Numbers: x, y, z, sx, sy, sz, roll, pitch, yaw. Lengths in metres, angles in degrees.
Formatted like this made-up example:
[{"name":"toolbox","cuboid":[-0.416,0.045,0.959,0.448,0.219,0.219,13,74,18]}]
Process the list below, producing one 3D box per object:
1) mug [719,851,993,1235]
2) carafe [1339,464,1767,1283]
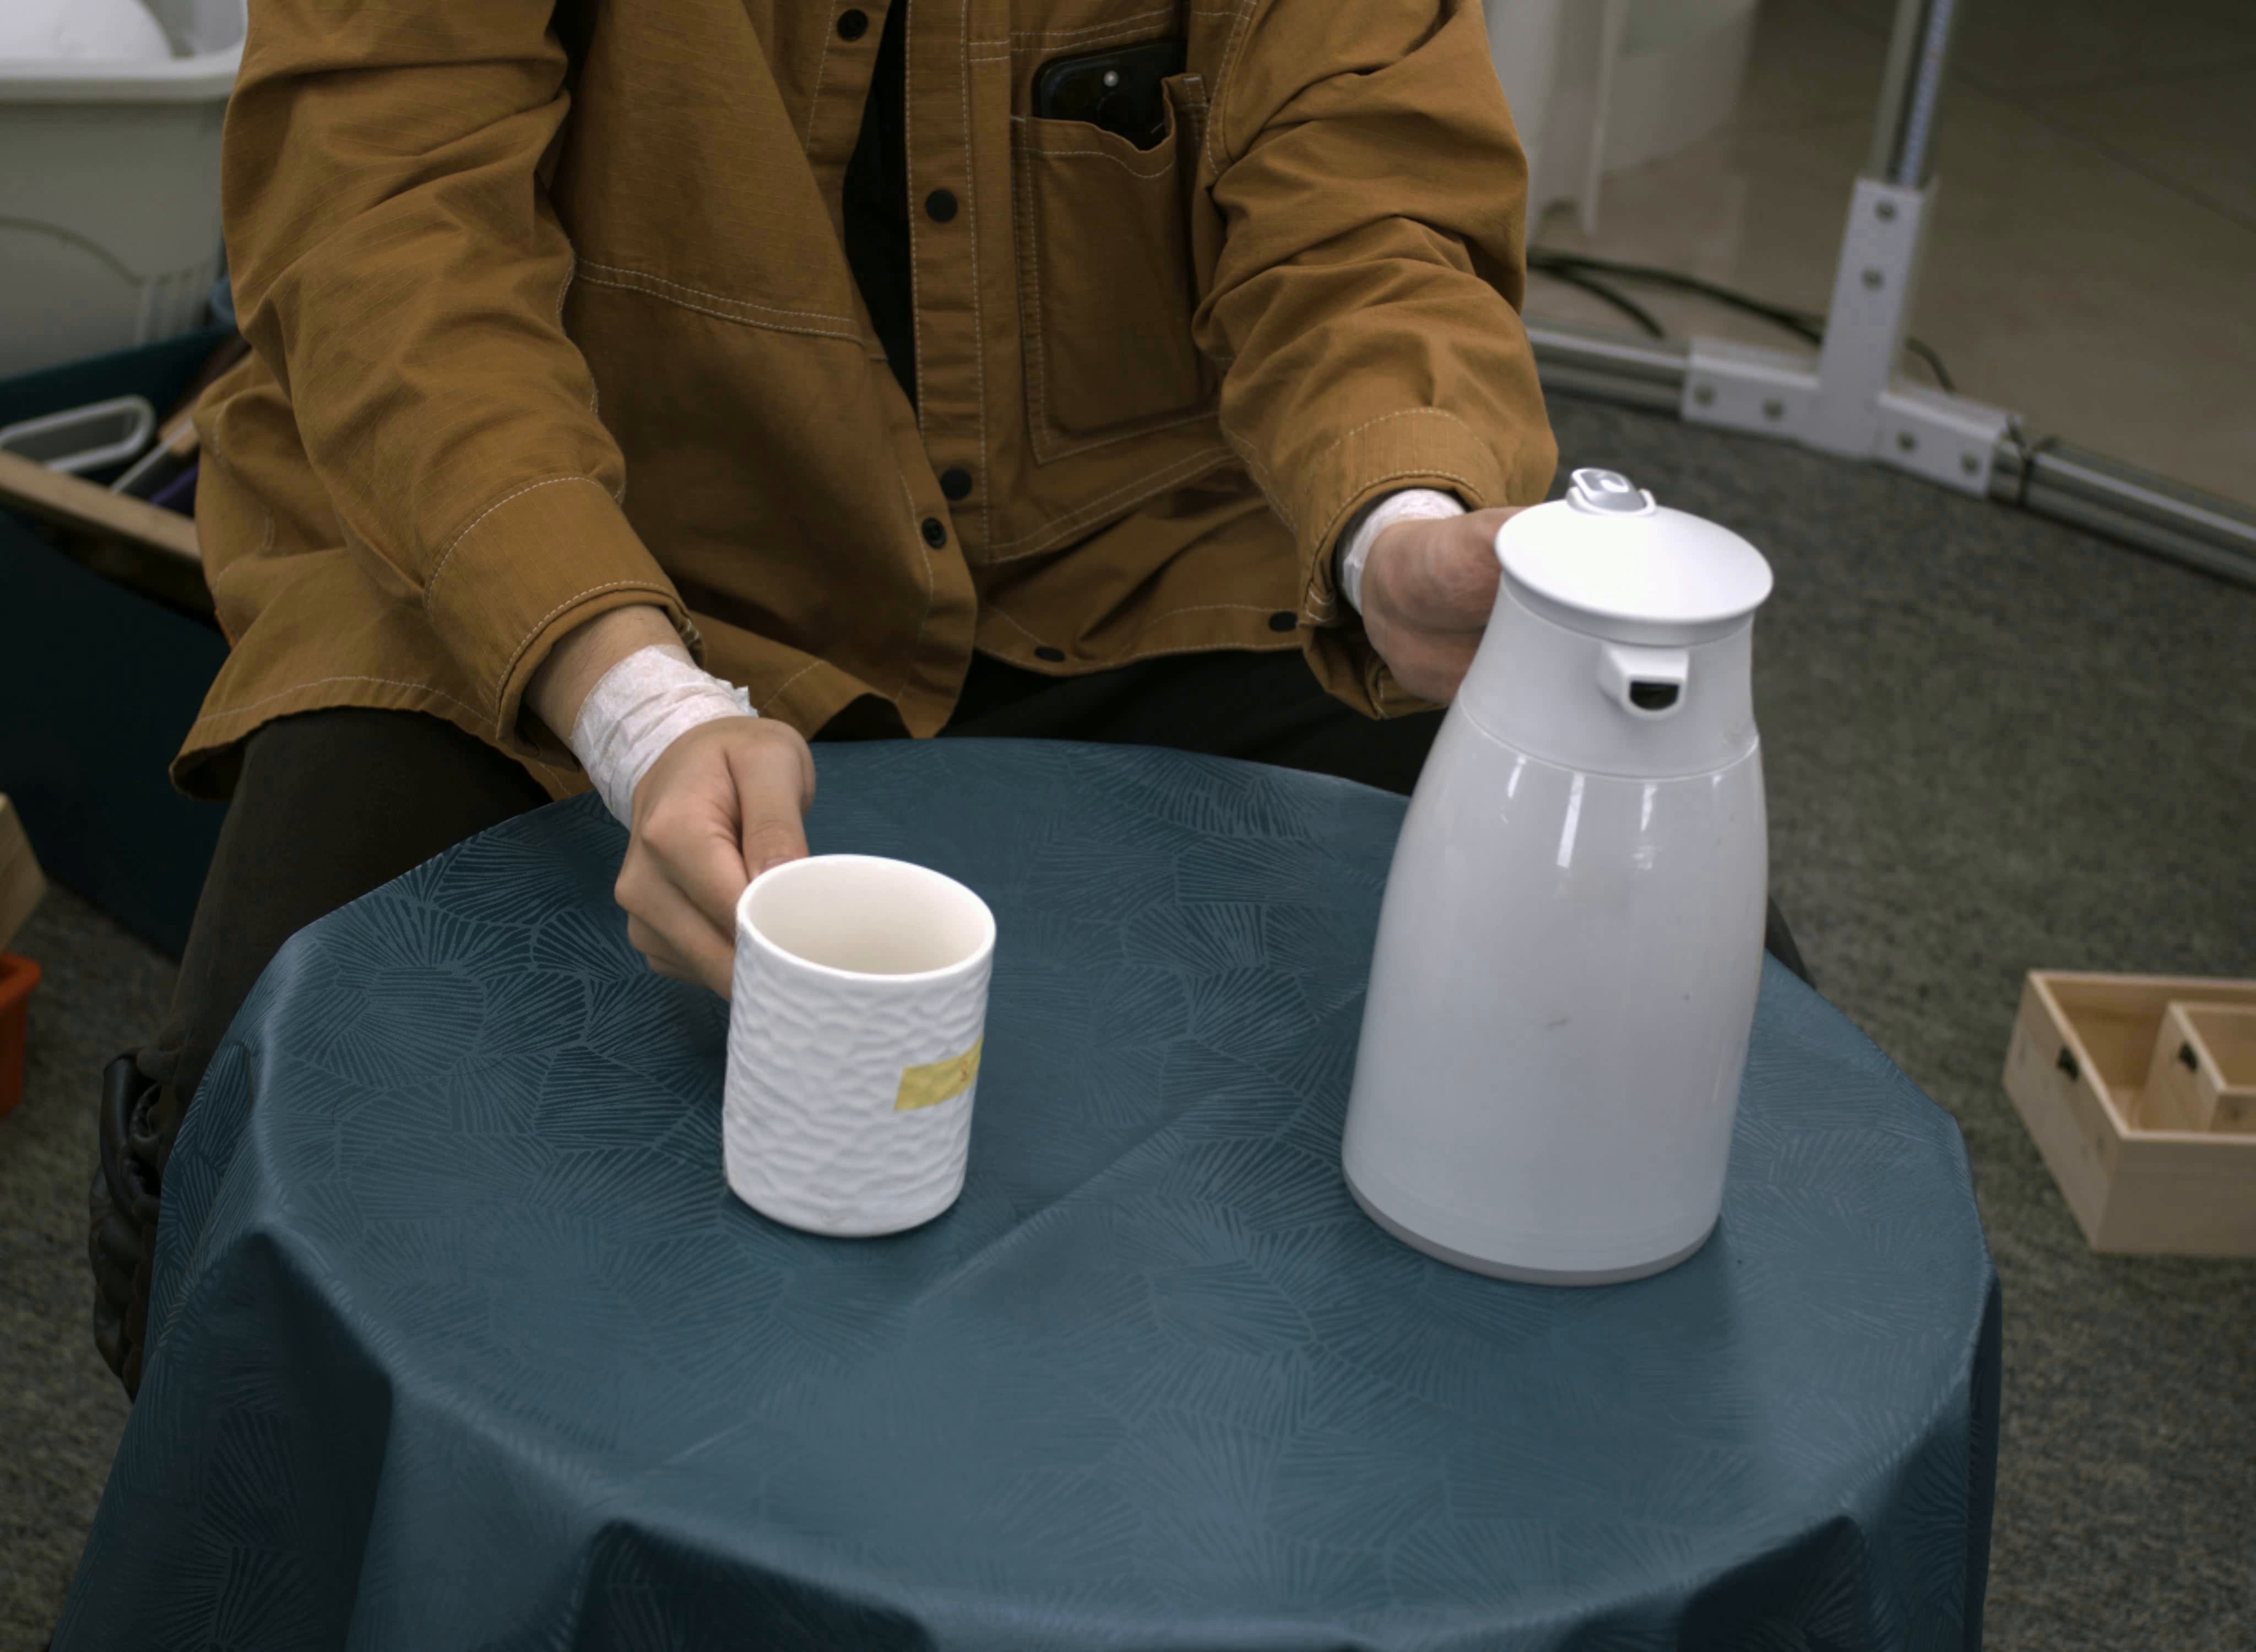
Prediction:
[{"name":"mug","cuboid":[-0.100,0.066,1.782,0.084,0.101,0.119,-12,32,-32]},{"name":"carafe","cuboid":[0.147,0.005,1.797,0.132,0.248,0.169,2,26,-7]}]
